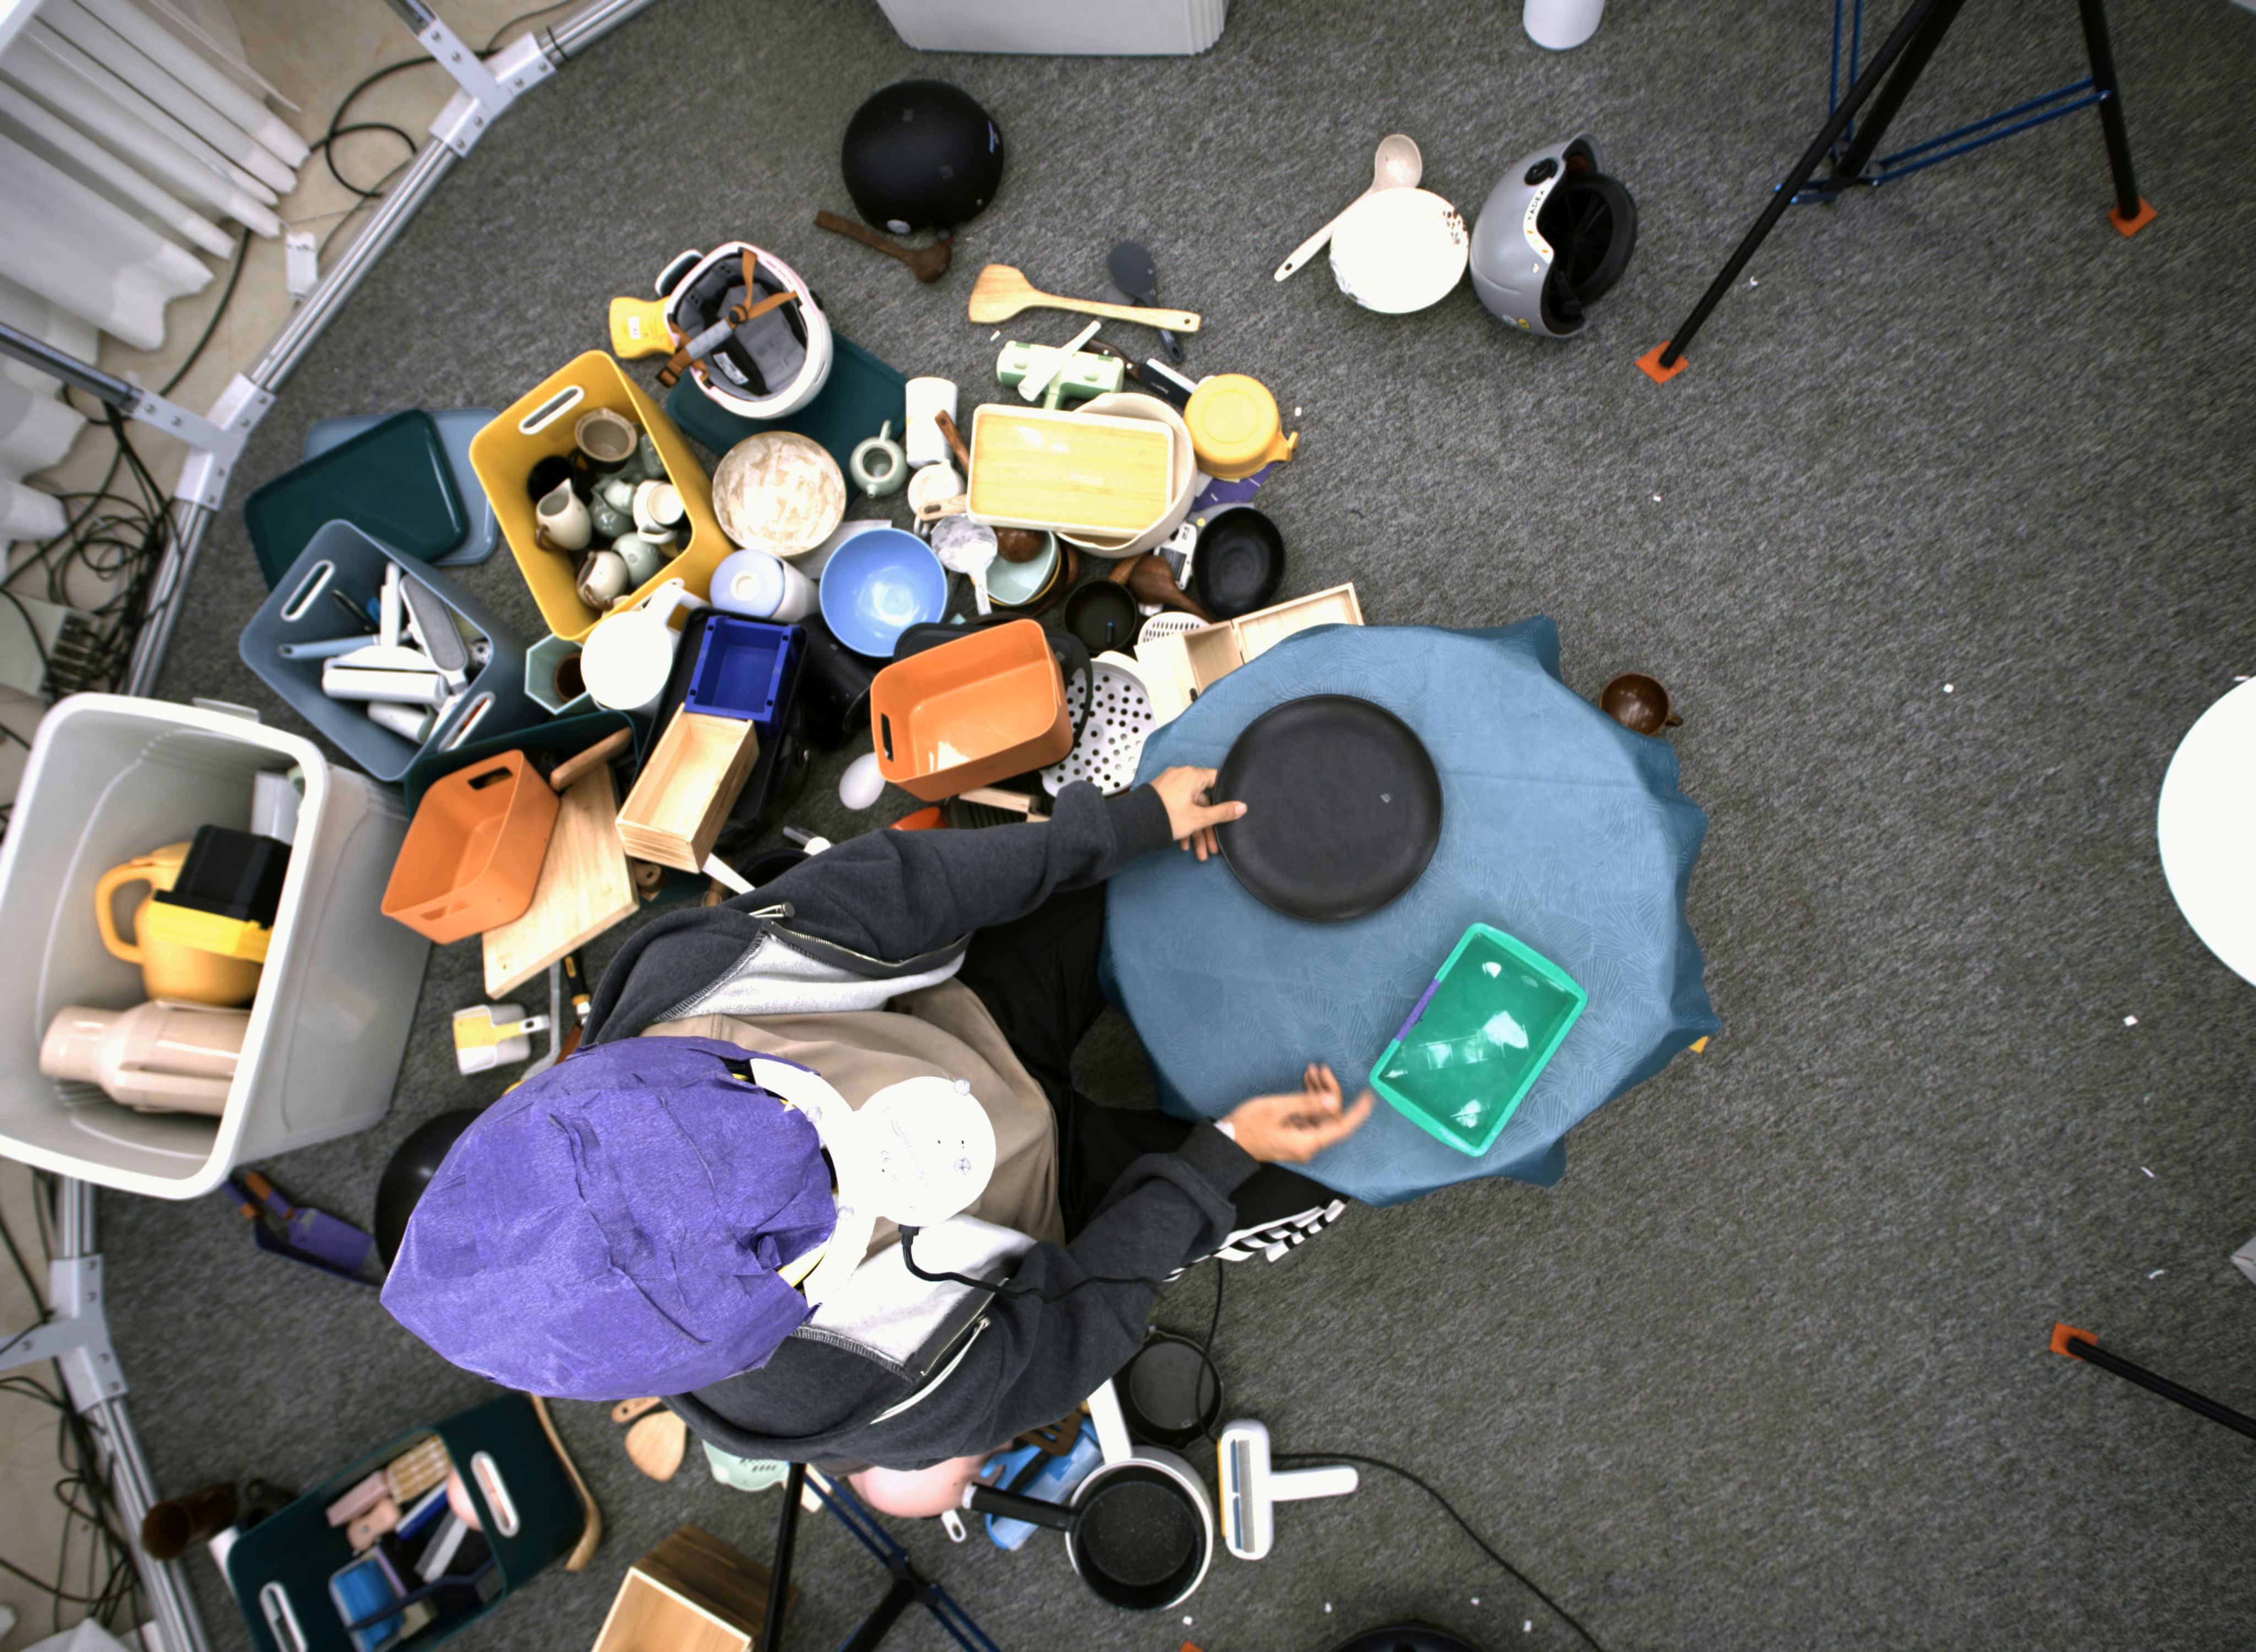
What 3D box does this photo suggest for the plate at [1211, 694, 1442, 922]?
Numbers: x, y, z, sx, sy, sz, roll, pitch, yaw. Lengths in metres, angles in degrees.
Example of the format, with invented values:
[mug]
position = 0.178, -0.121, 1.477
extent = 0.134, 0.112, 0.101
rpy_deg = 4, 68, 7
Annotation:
[plate]
position = 0.209, -0.020, 1.464
extent = 0.245, 0.023, 0.243
rpy_deg = -1, 87, 10

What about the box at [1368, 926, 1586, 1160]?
[box]
position = 0.353, 0.216, 1.404
extent = 0.138, 0.065, 0.211
rpy_deg = 34, 95, 12
